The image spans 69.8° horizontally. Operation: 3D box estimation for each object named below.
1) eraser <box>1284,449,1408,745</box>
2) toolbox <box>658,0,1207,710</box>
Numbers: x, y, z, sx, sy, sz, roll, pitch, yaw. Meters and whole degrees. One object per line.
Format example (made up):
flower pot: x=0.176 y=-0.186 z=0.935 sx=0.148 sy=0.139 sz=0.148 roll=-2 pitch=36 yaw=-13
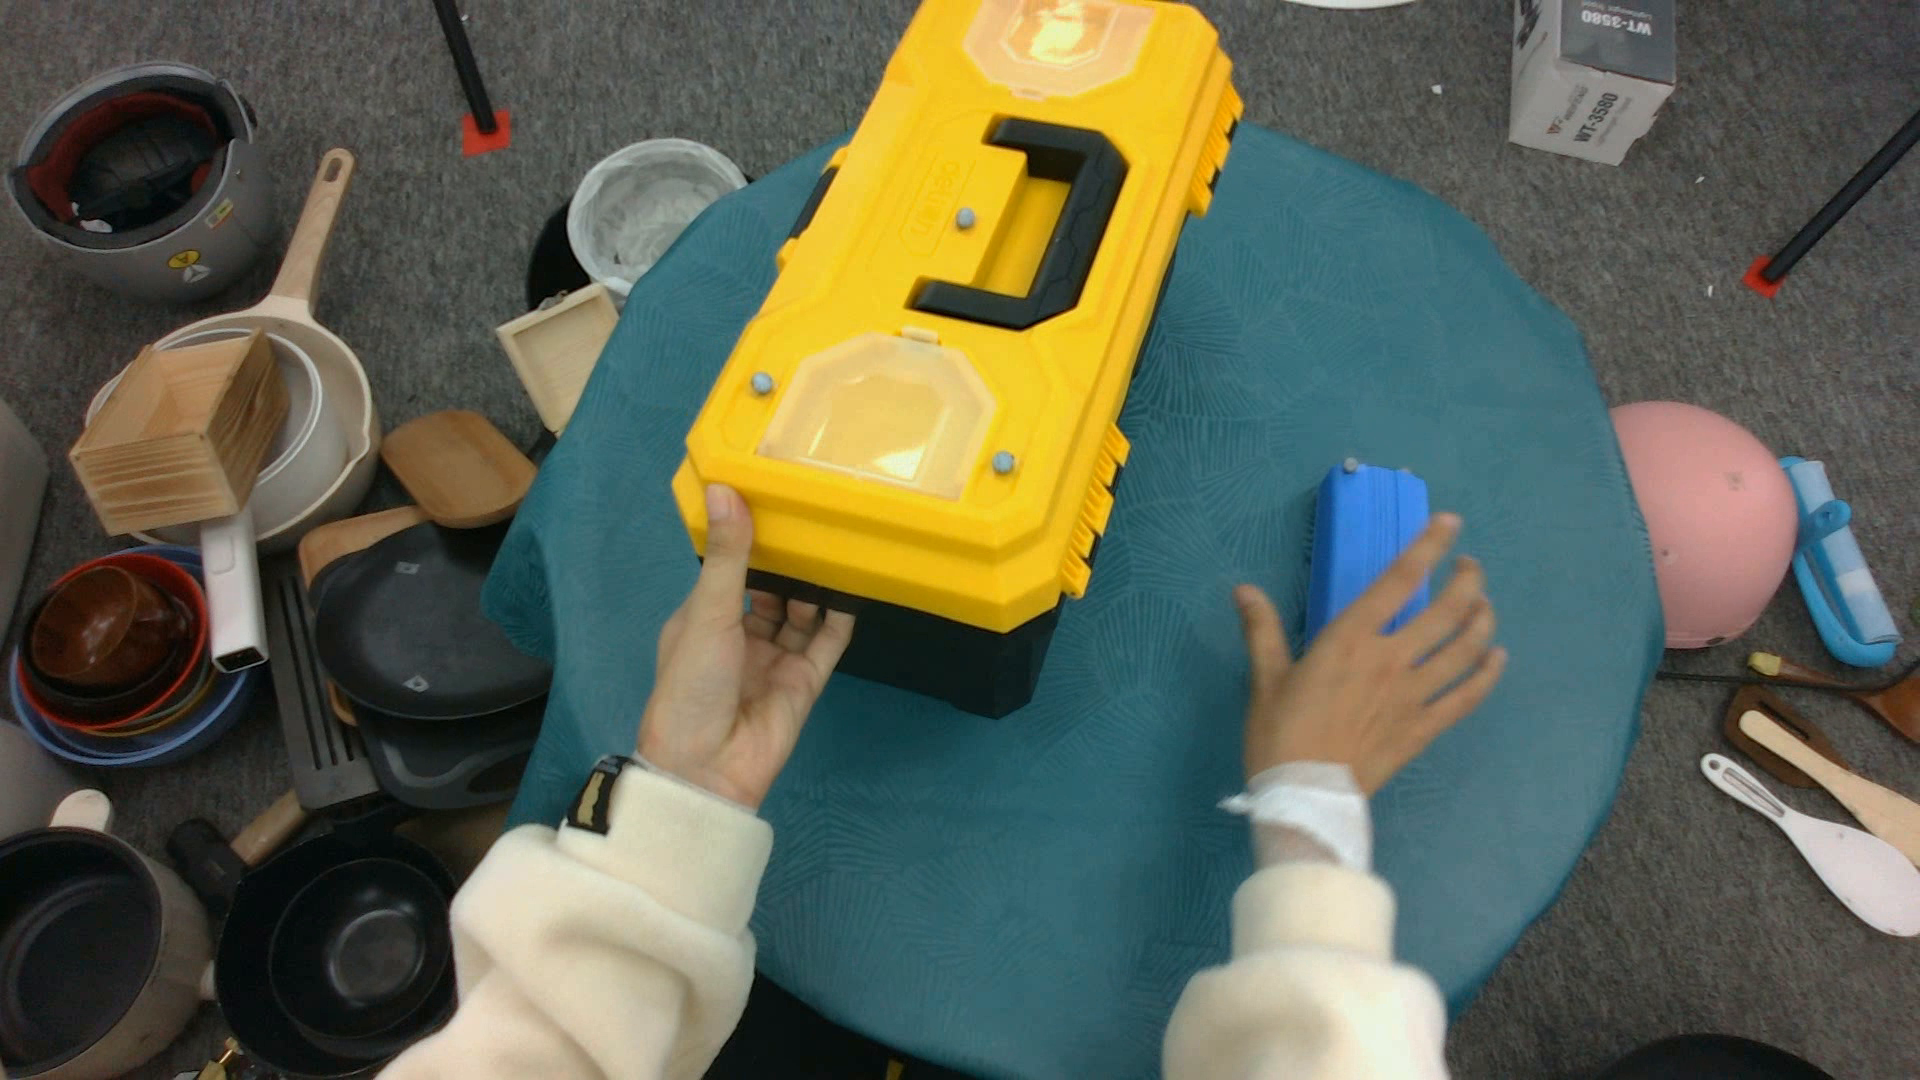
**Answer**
eraser: x=0.204 y=0.025 z=0.722 sx=0.054 sy=0.047 sz=0.163 roll=10 pitch=63 yaw=1
toolbox: x=0.001 y=-0.103 z=0.674 sx=0.181 sy=0.172 sz=0.353 roll=14 pitch=58 yaw=11
